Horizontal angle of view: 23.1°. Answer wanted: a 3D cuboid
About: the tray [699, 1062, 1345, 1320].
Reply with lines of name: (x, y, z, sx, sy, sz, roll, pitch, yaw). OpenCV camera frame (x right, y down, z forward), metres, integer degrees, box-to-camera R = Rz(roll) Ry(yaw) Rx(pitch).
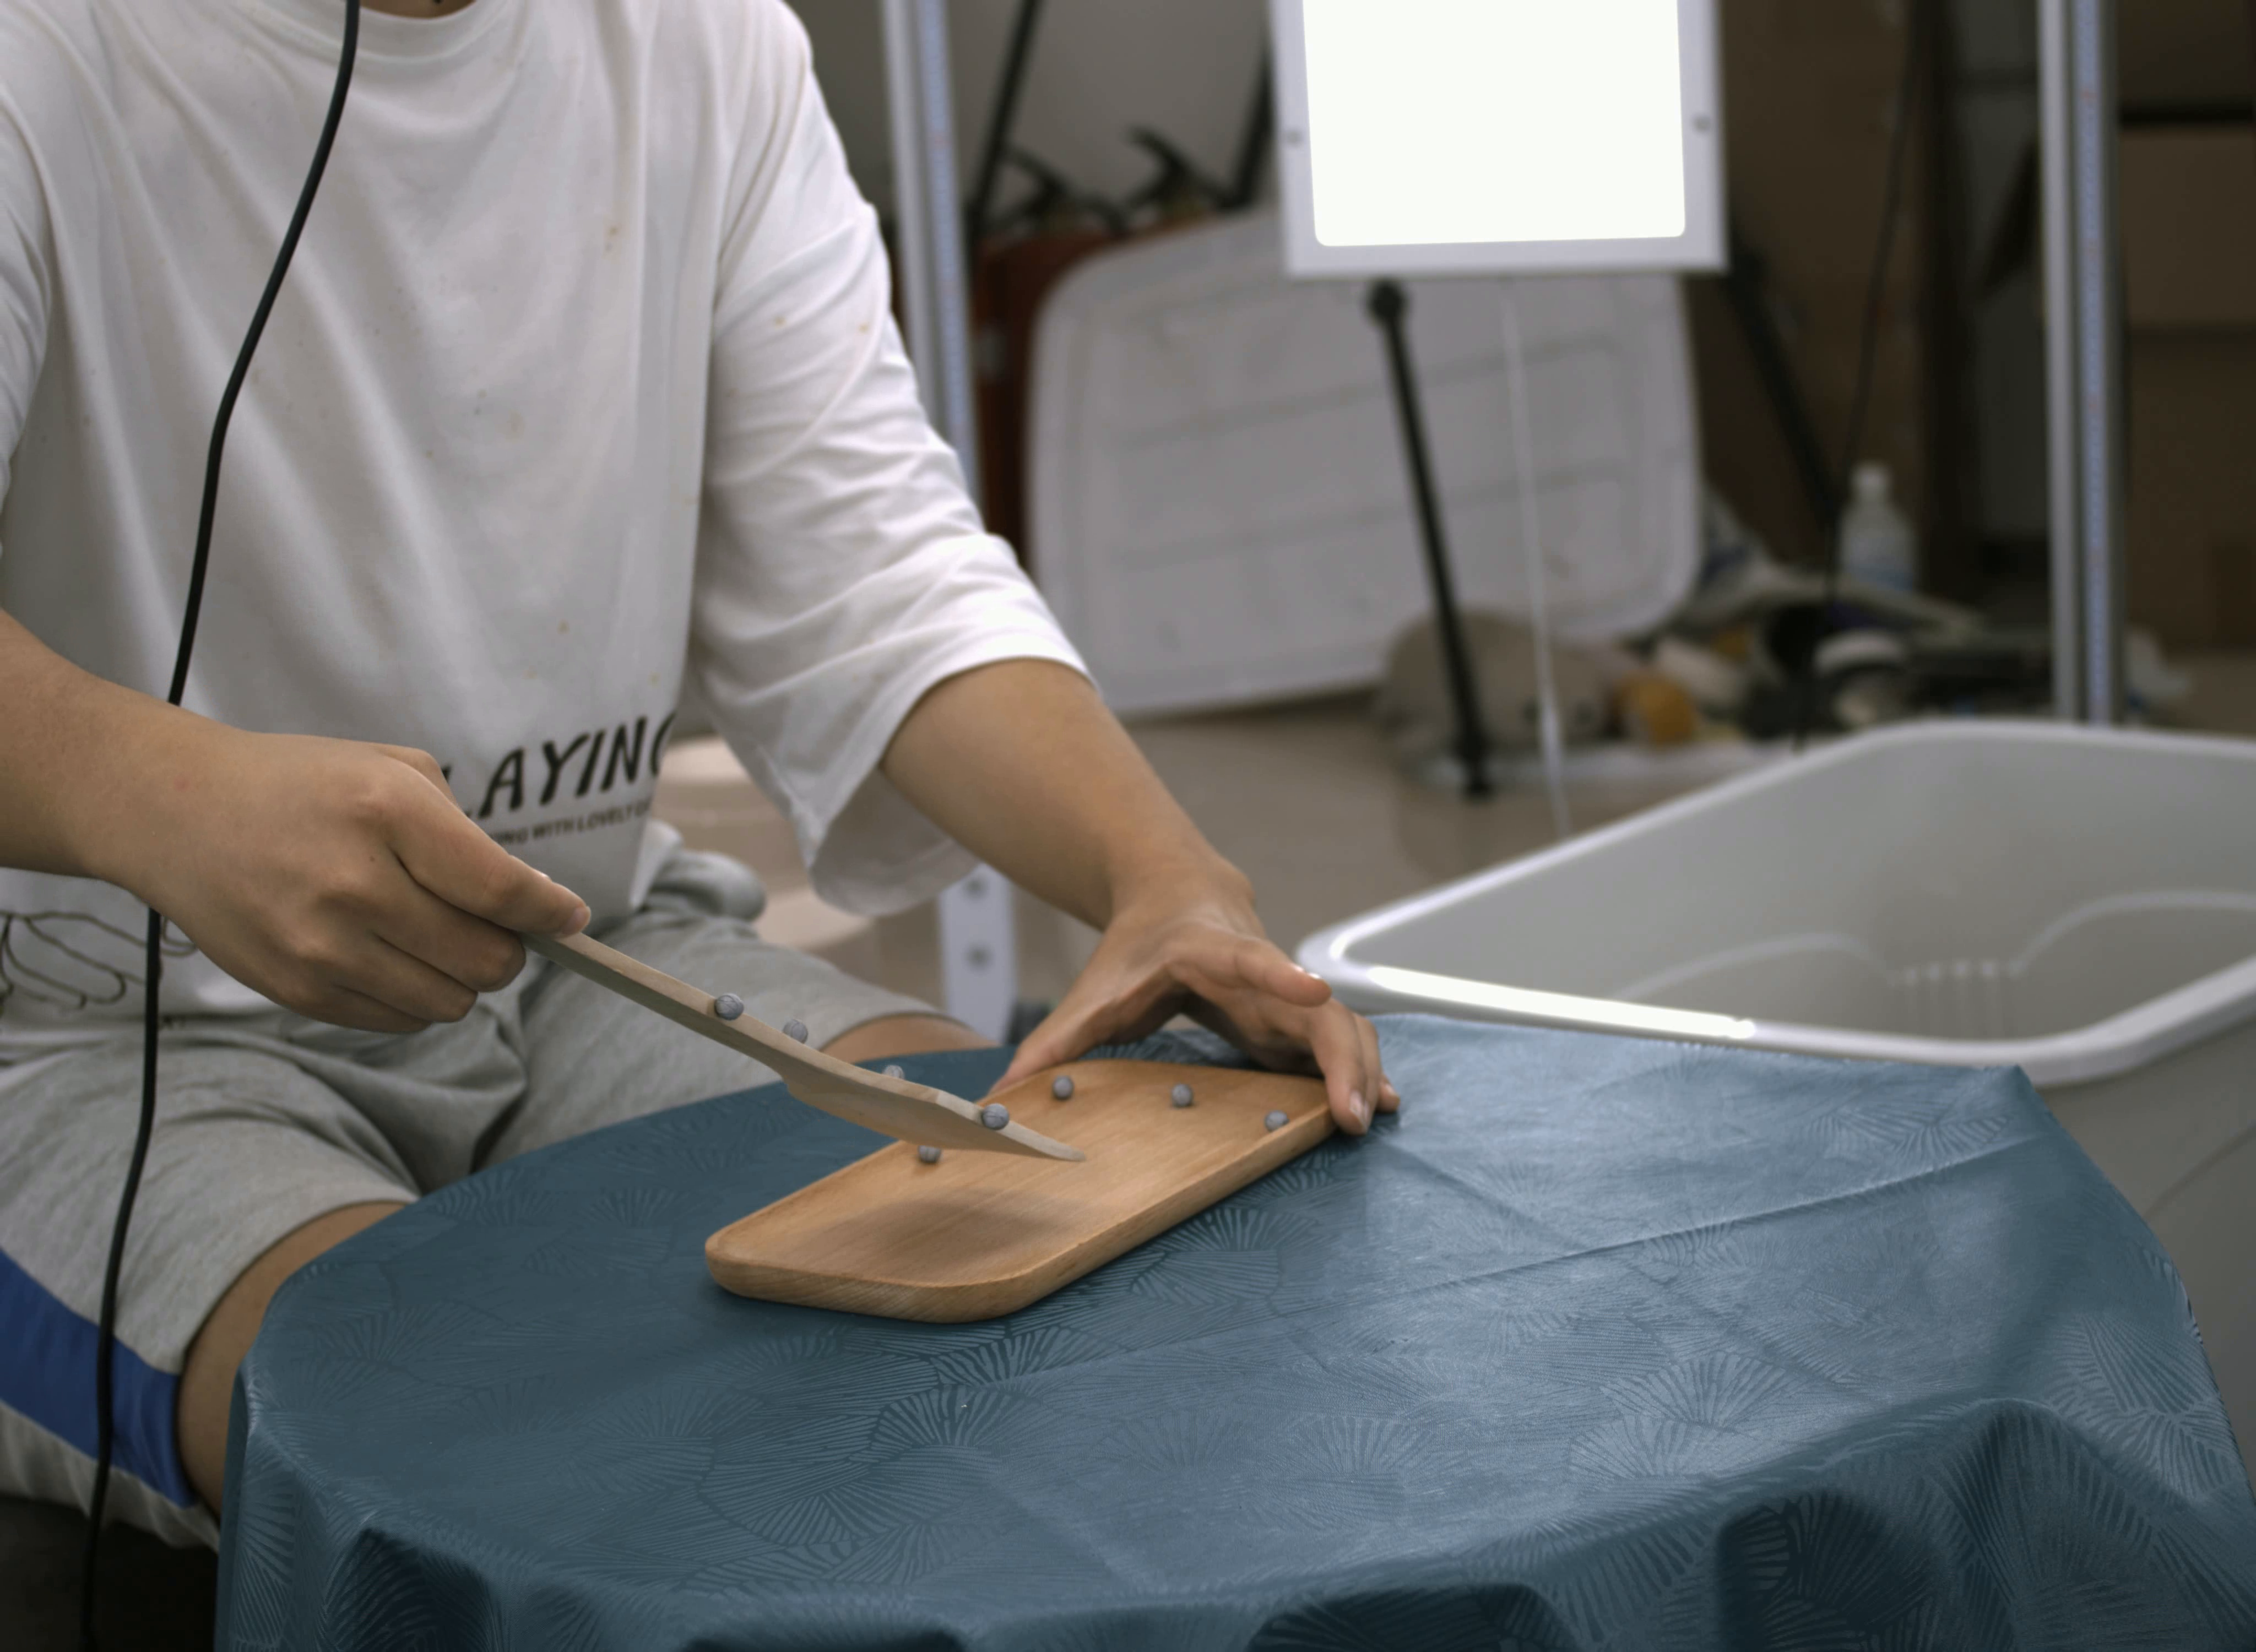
tray: (-0.032, 0.123, 1.893, 0.133, 0.023, 0.244, 2, 15, 35)

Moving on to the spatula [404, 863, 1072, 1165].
spatula: (-0.126, 0.064, 1.758, 0.074, 0.010, 0.287, 4, -18, 40)
